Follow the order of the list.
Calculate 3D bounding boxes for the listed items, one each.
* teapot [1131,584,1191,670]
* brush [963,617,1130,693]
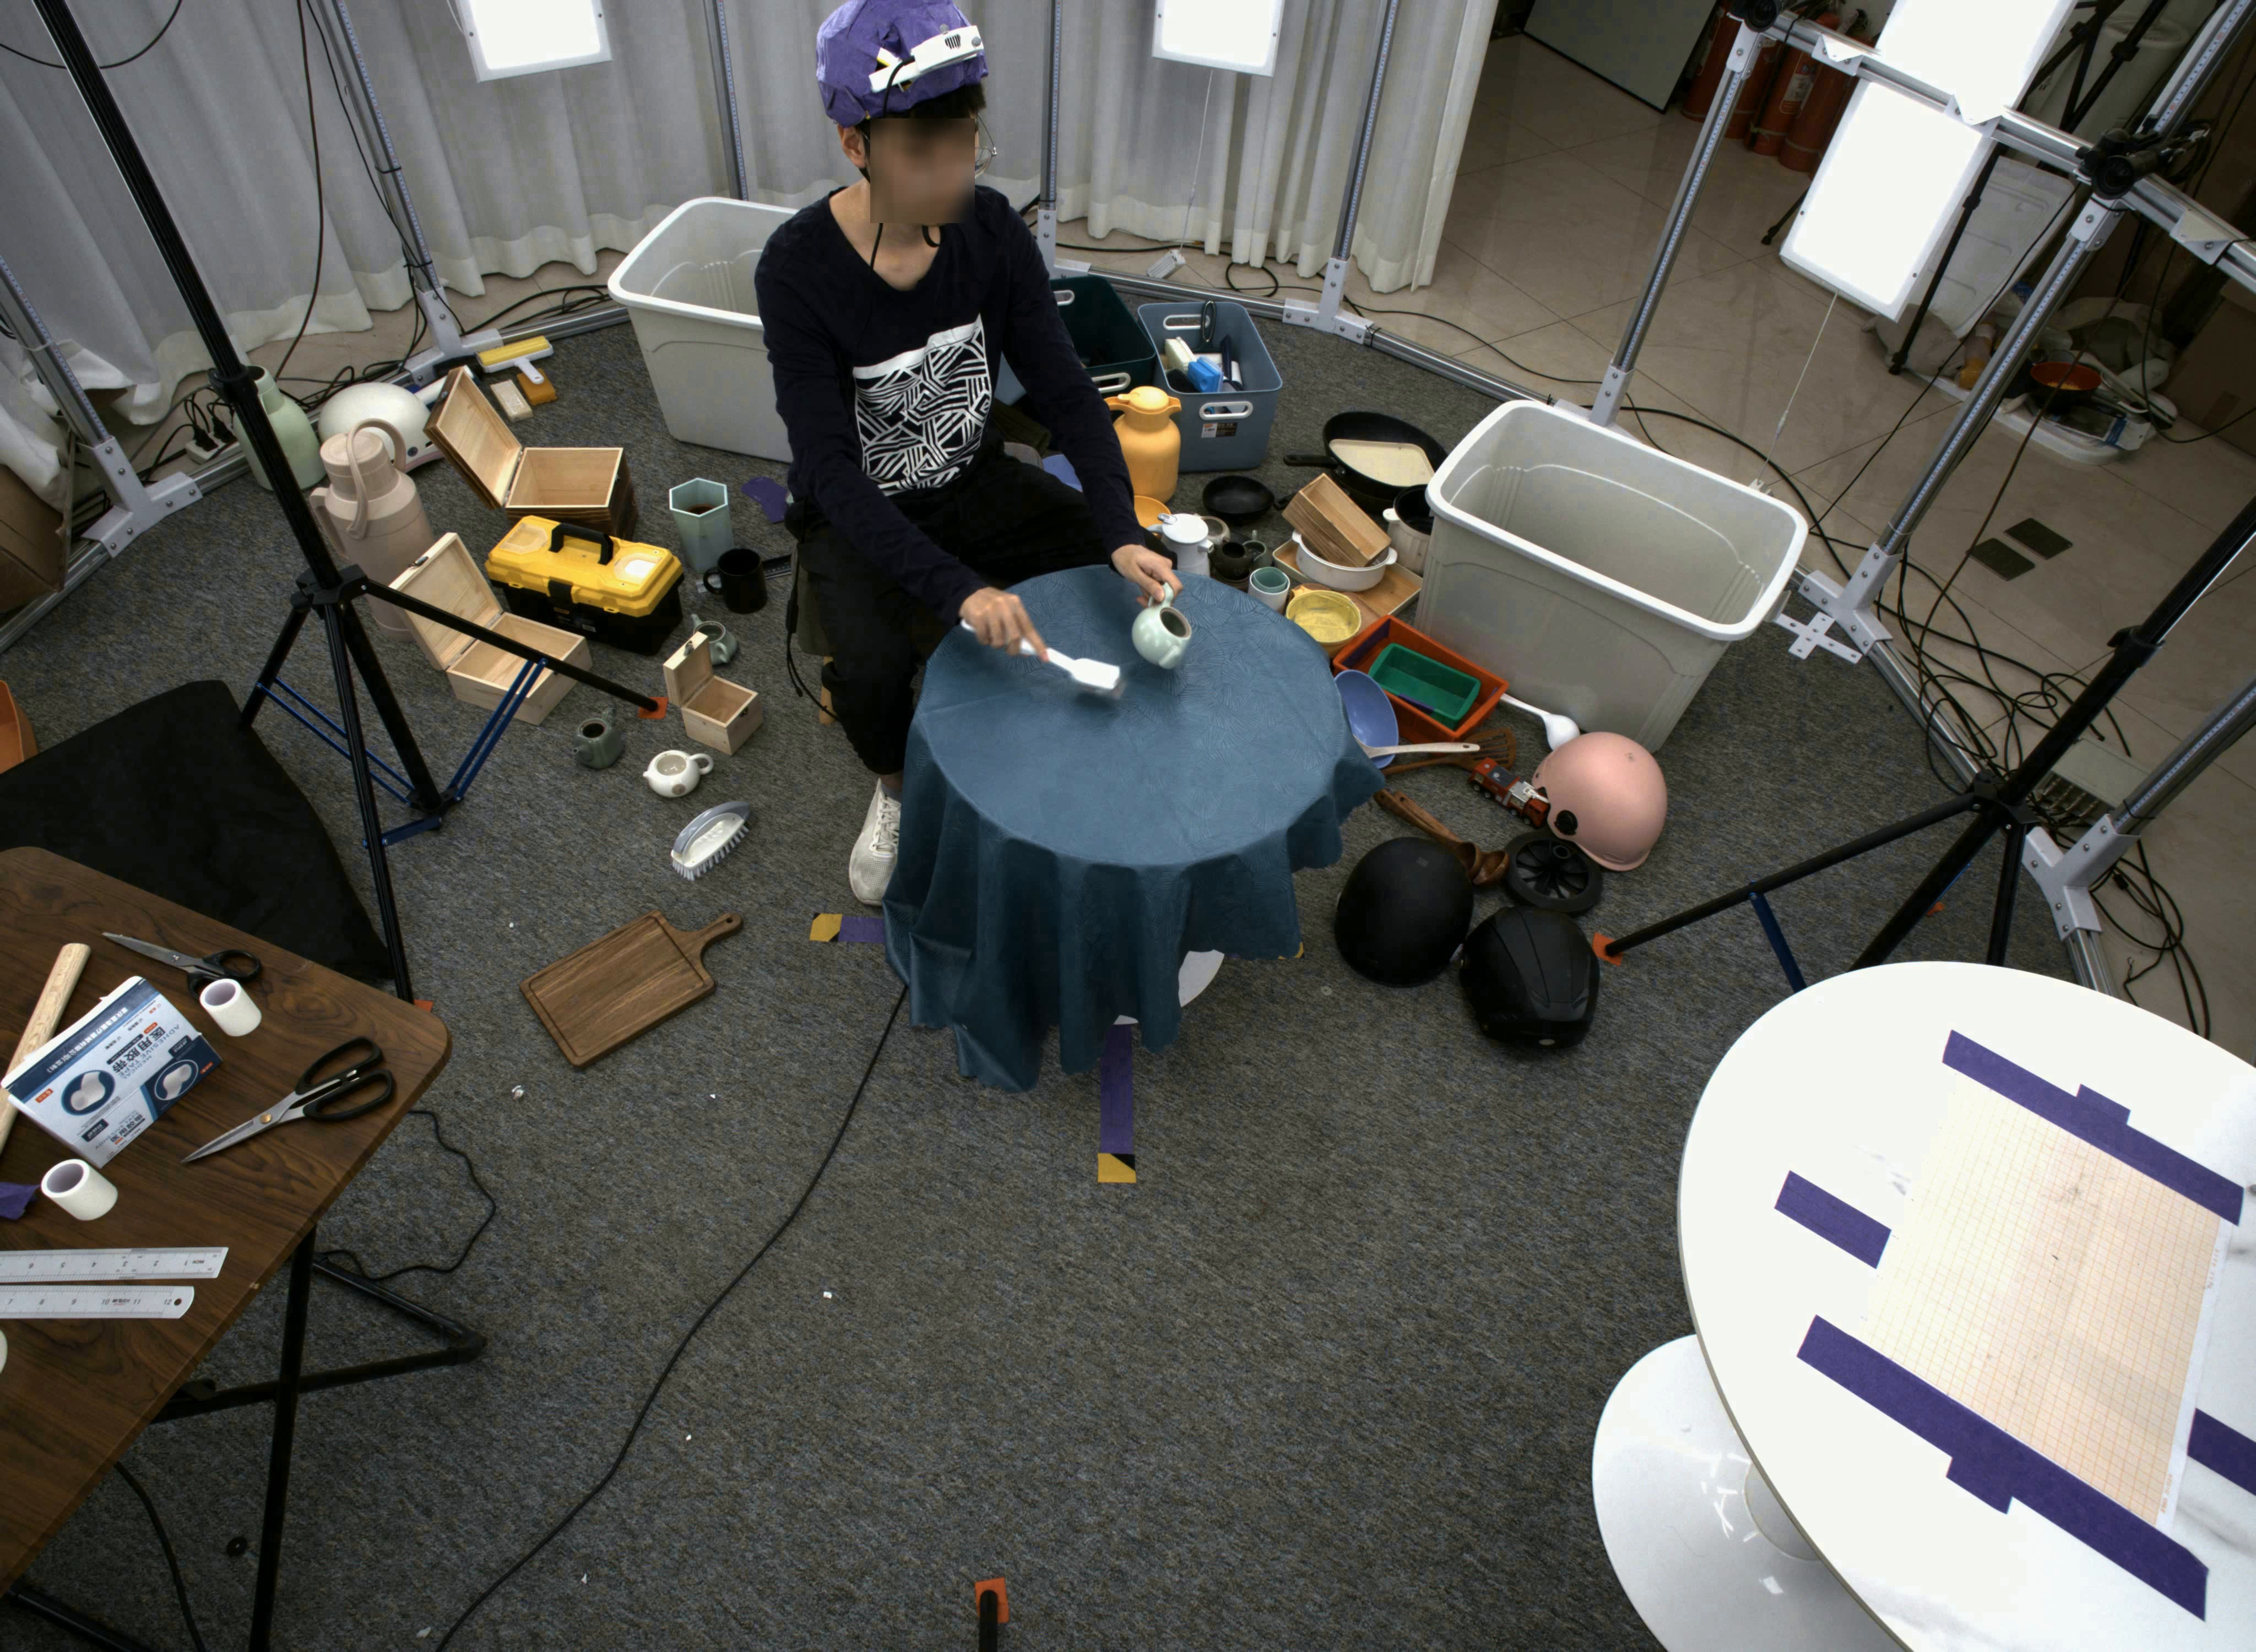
[{"bbox_3d":[0.048,-0.270,1.828,0.087,0.074,0.147,14,53,-34],"label":"teapot"},{"bbox_3d":[-0.115,-0.240,1.804,0.244,0.049,0.035,19,74,5],"label":"brush"}]
